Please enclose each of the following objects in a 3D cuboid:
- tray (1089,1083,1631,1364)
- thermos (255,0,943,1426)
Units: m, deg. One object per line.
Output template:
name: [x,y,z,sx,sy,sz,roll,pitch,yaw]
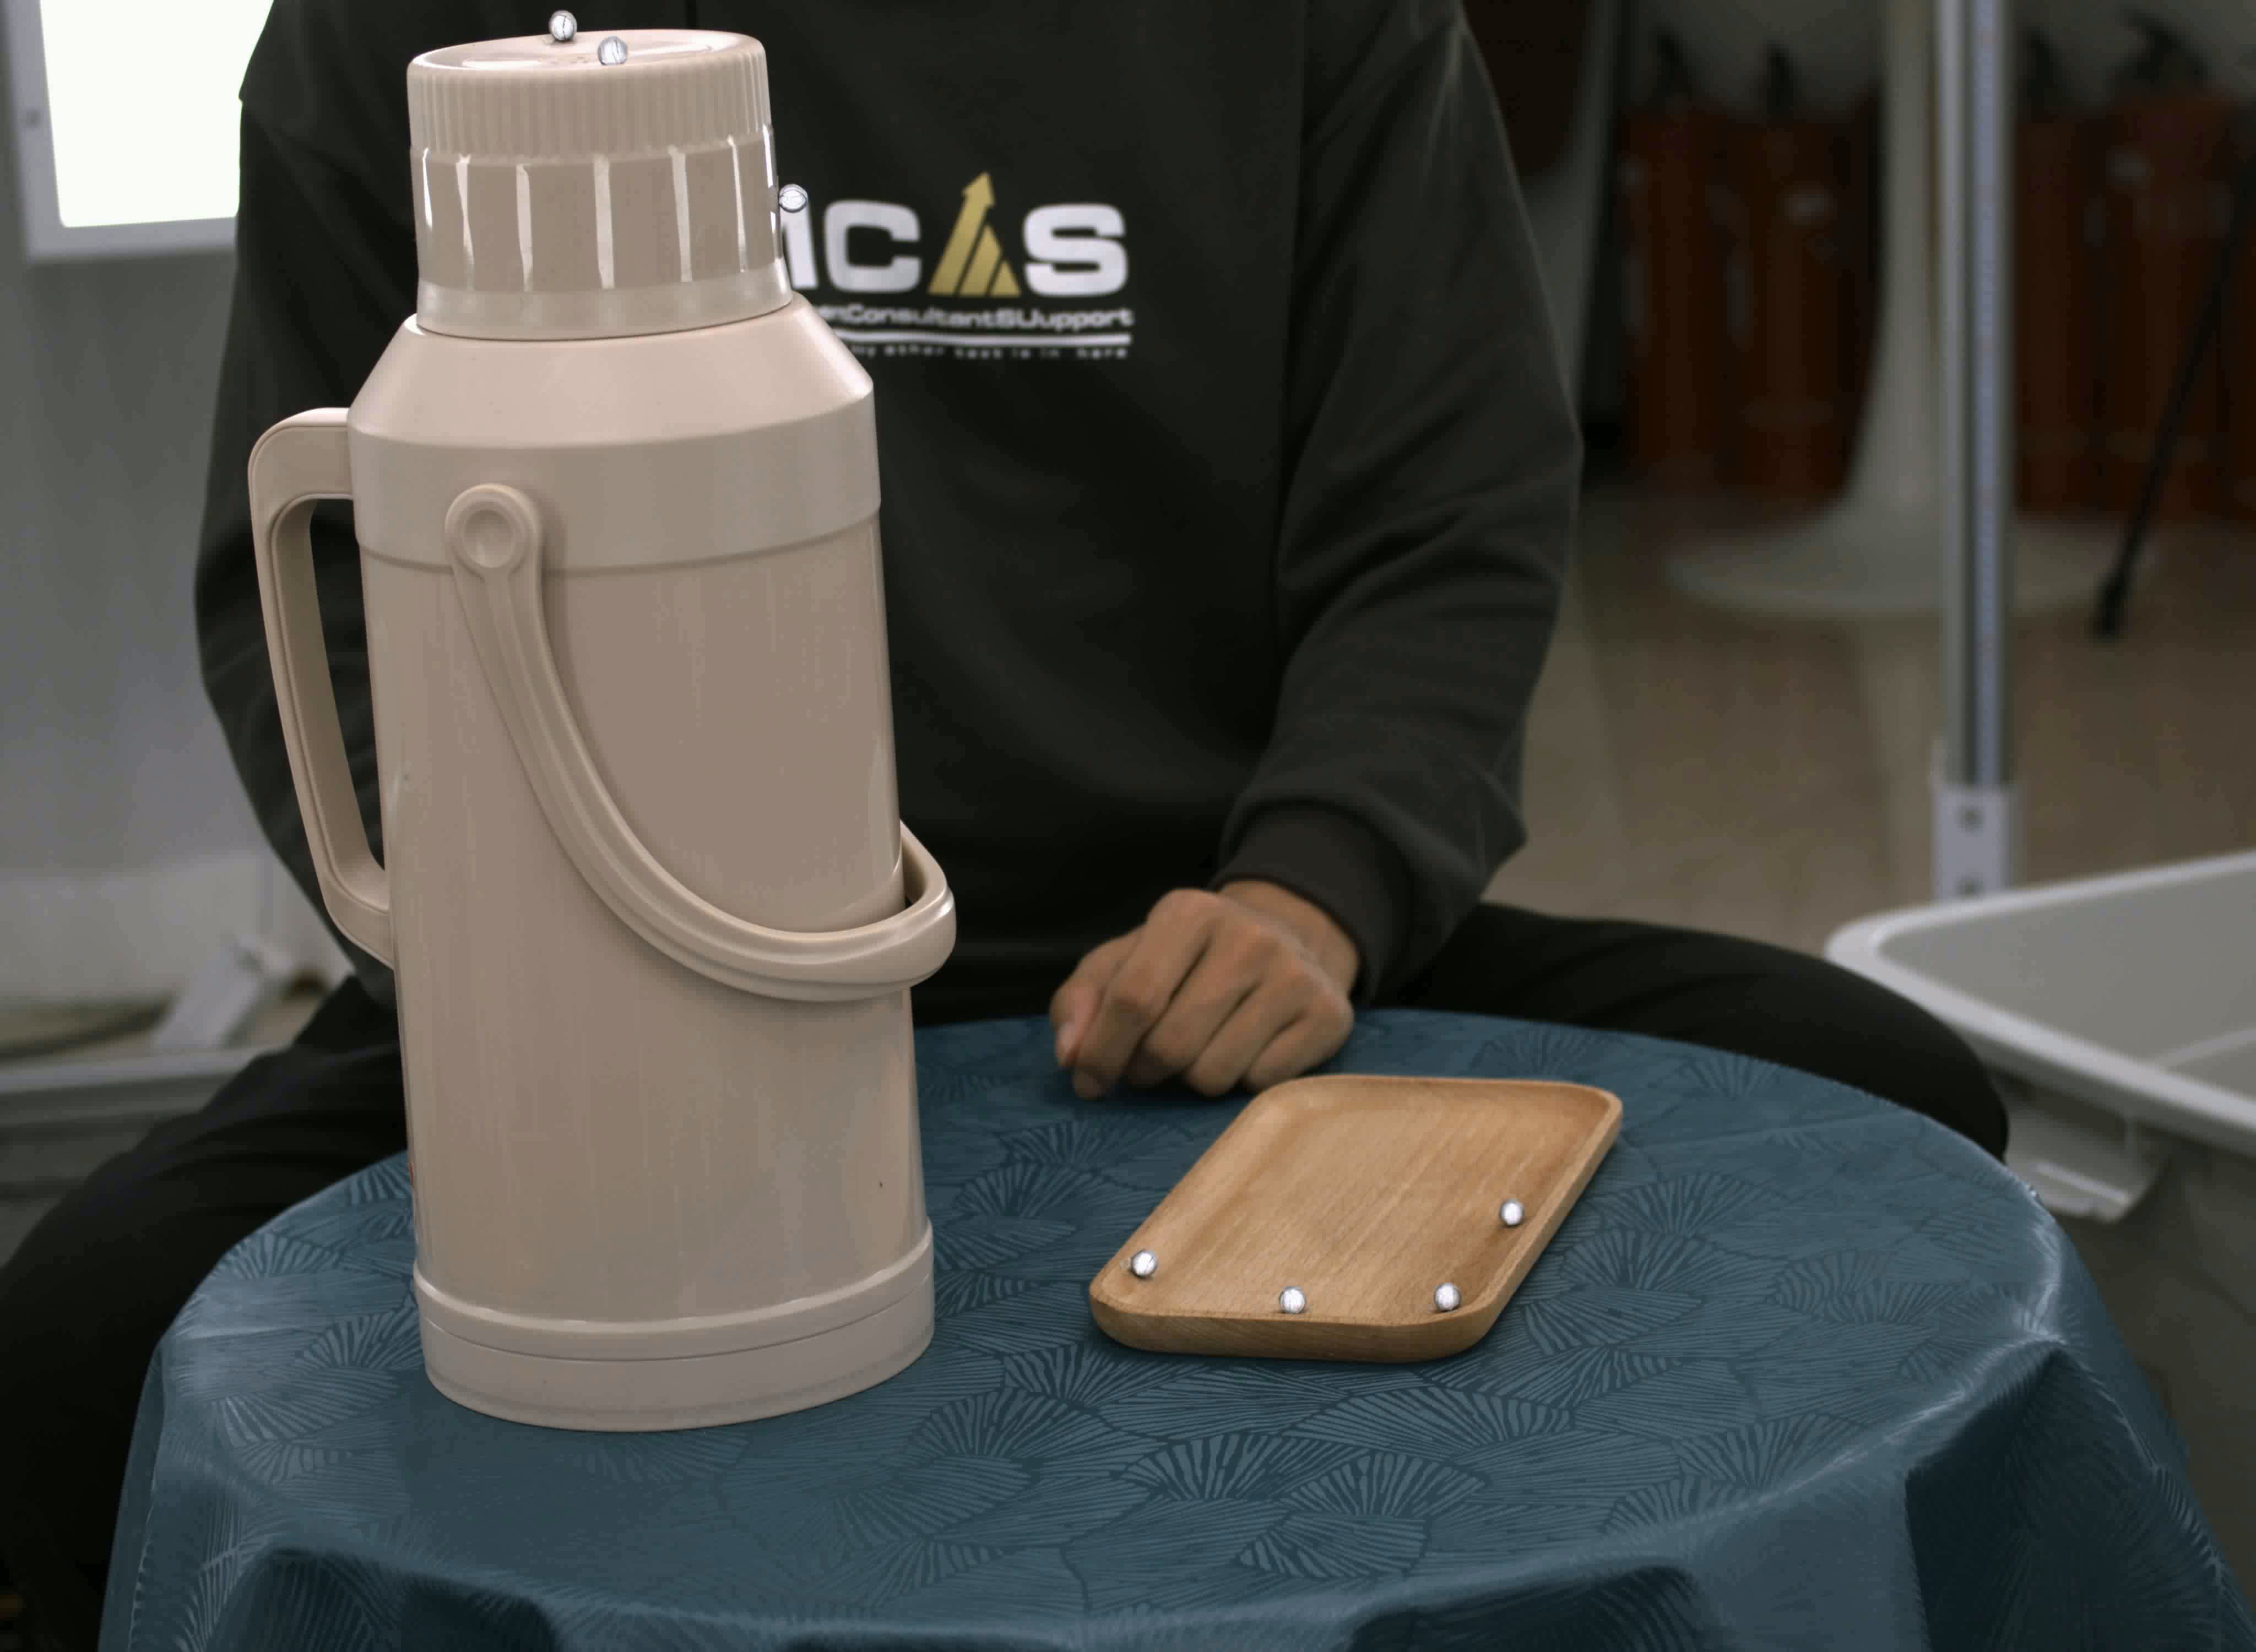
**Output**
tray: [0.078,0.124,1.712,0.130,0.023,0.248,3,14,18]
thermos: [-0.159,-0.036,1.619,0.207,0.411,0.173,2,15,20]
